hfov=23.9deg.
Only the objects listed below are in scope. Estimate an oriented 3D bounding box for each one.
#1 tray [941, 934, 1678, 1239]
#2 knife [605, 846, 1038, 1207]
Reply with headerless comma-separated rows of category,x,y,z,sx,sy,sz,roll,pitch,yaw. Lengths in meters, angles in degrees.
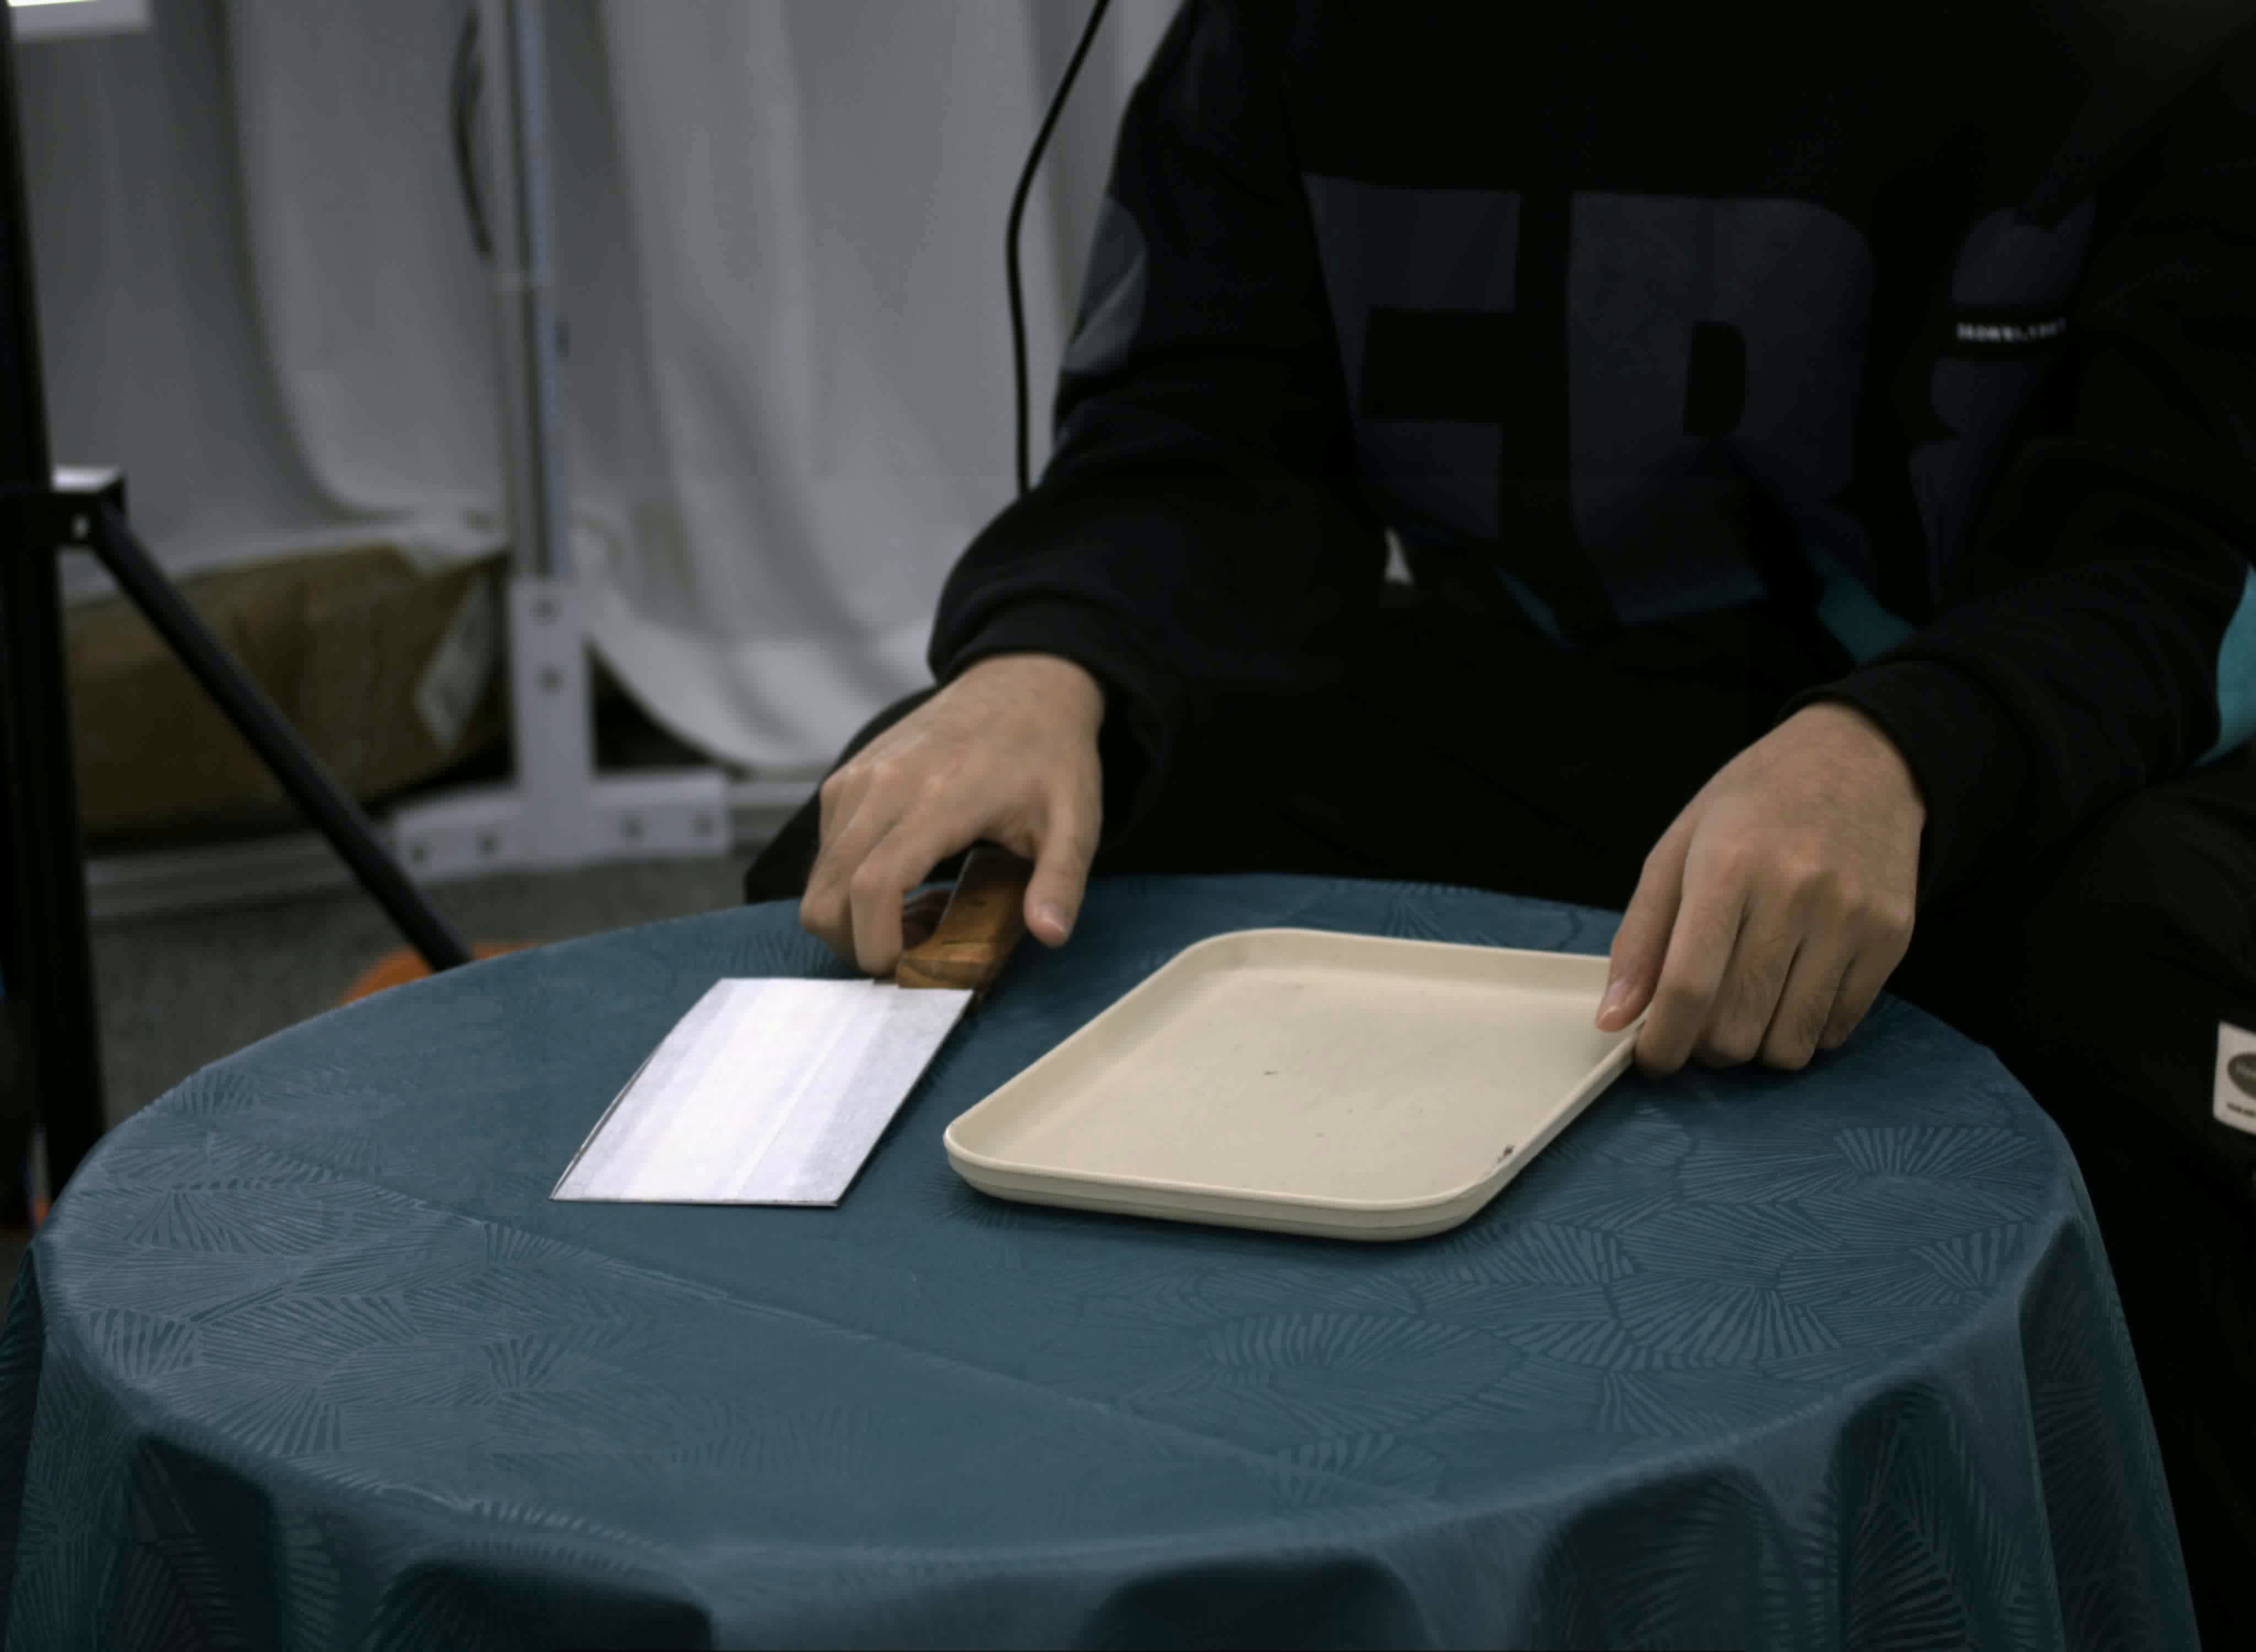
tray,0.059,0.078,1.619,0.174,0.017,0.236,4,17,25
knife,-0.097,0.063,1.706,0.093,0.021,0.304,-1,18,13
